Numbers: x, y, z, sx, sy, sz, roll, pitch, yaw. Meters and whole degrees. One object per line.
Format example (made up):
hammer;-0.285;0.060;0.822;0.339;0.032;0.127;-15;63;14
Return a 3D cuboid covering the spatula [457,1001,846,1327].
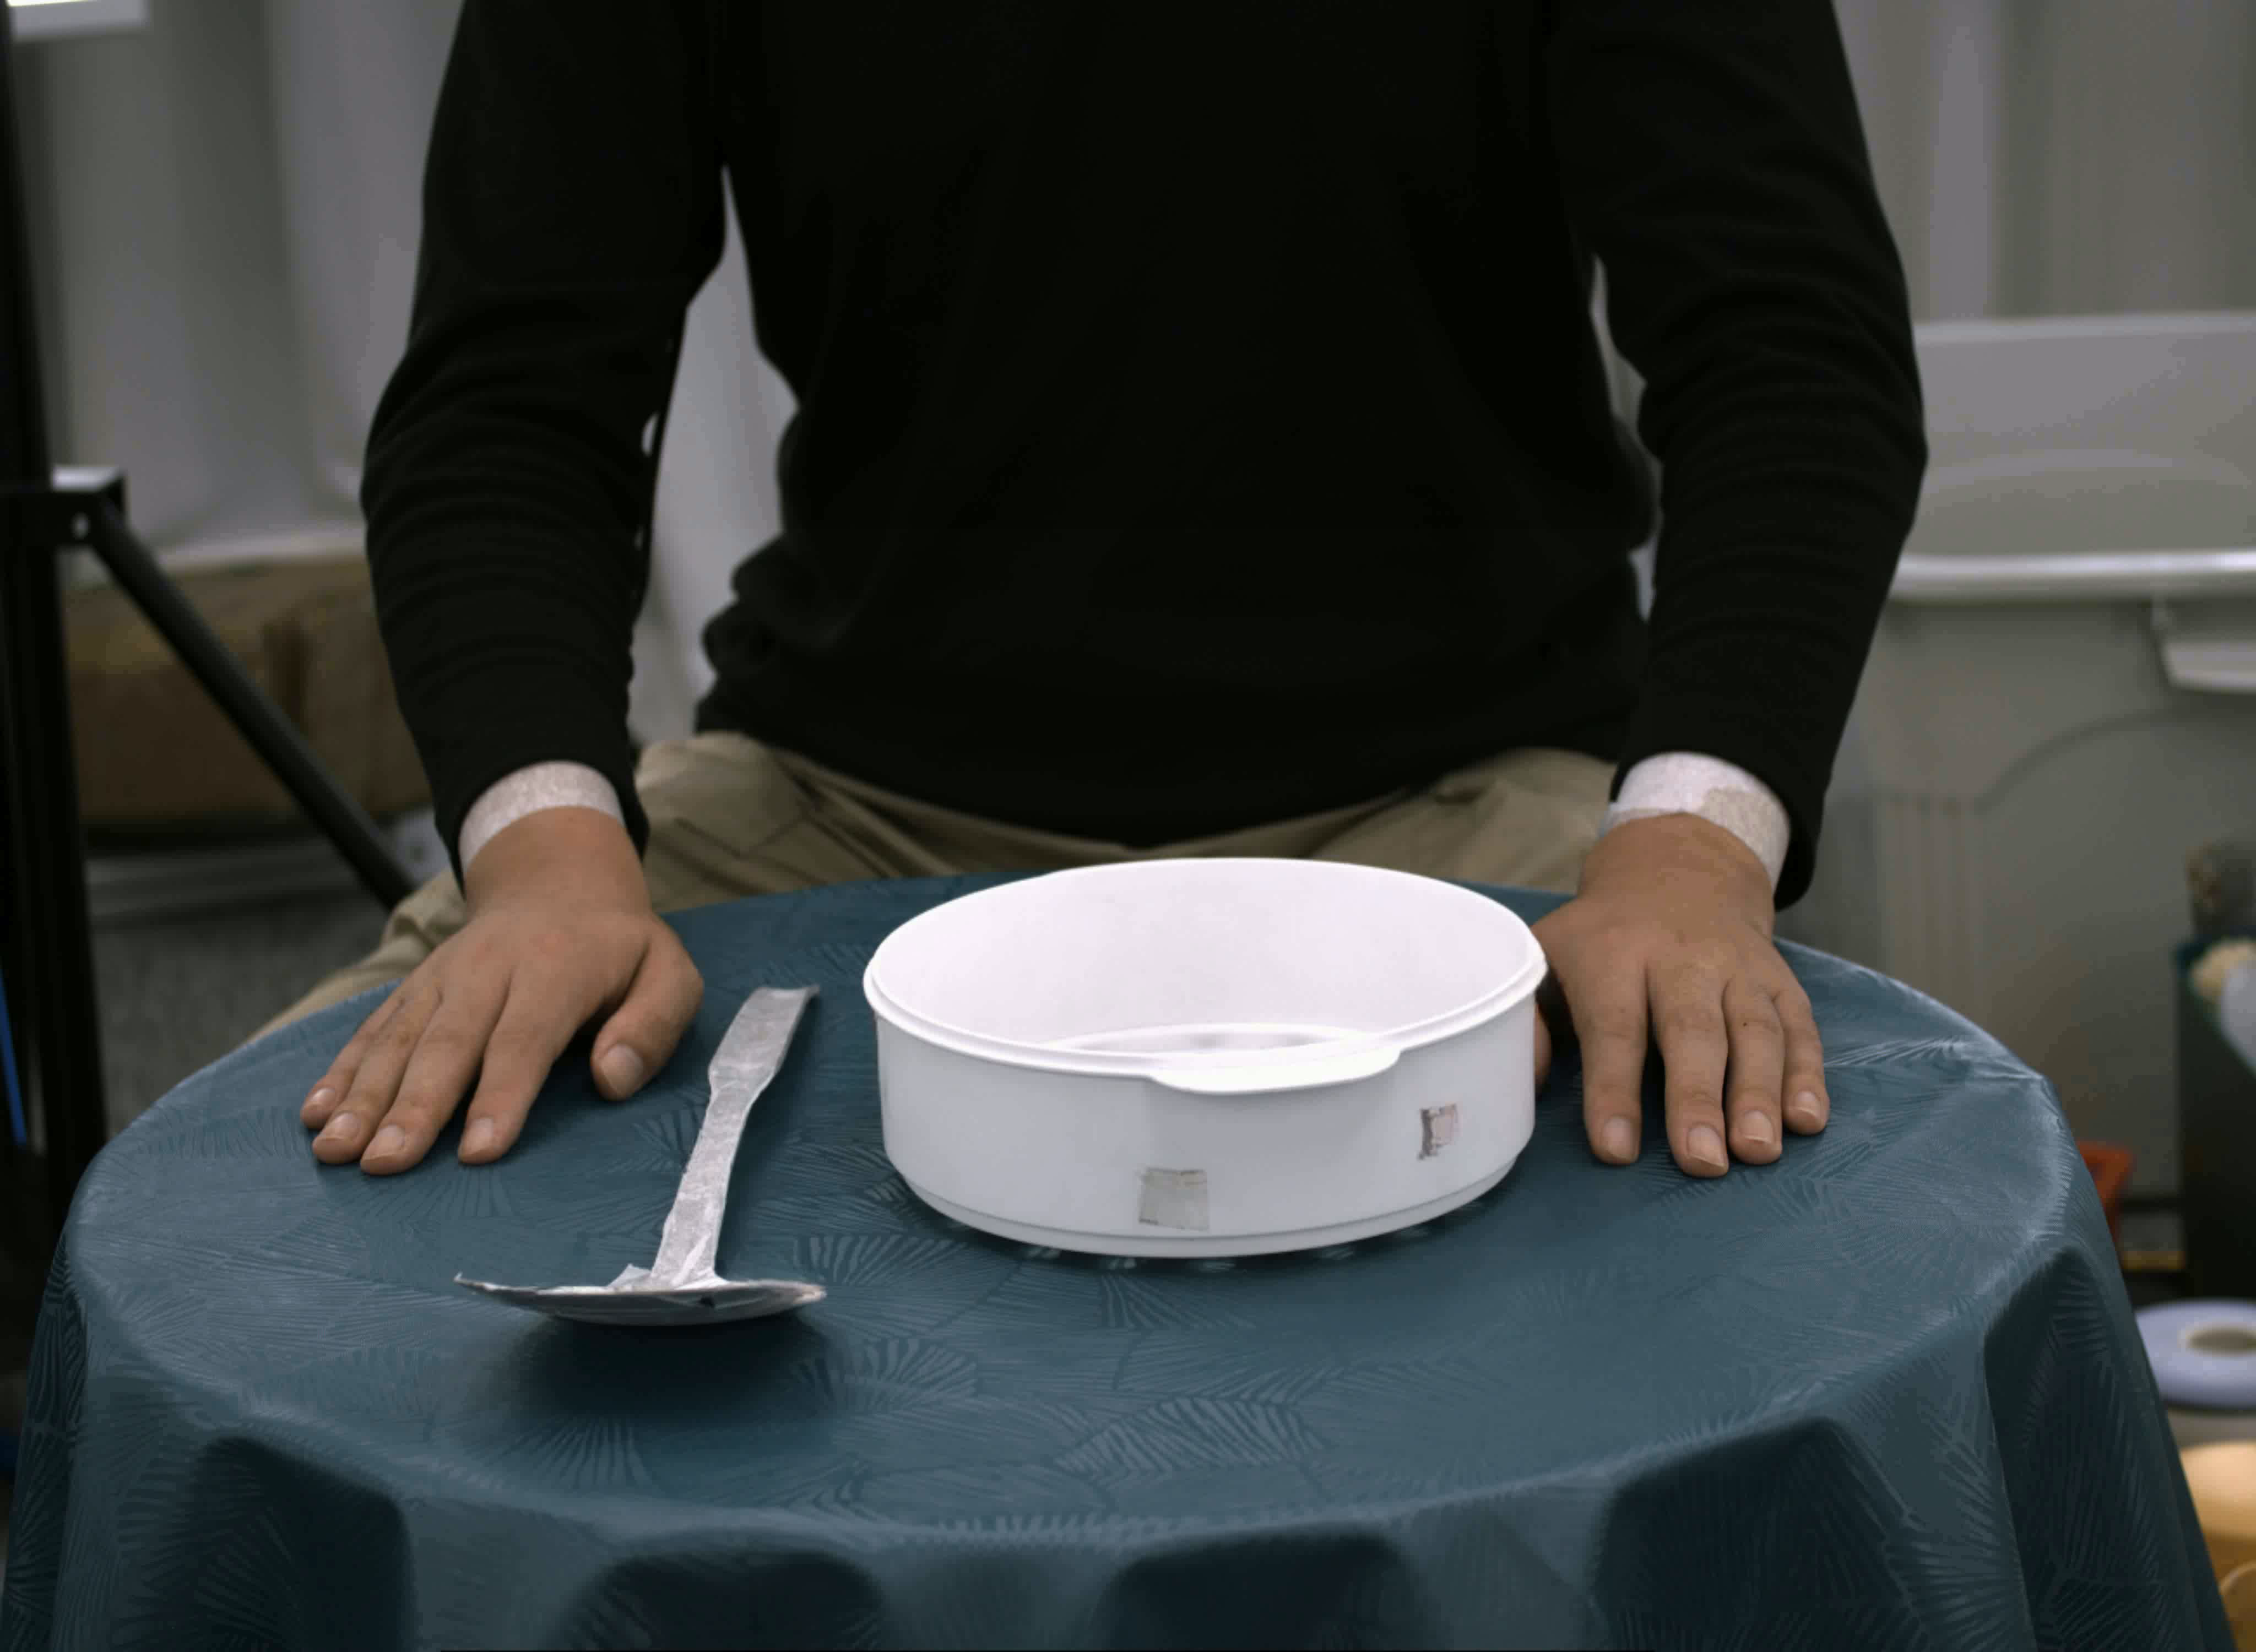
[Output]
spatula;-0.118;0.090;1.570;0.099;0.045;0.365;-3;16;5

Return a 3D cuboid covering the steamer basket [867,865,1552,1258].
steamer basket;0.025;0.069;1.563;0.199;0.069;0.233;-4;15;-9
